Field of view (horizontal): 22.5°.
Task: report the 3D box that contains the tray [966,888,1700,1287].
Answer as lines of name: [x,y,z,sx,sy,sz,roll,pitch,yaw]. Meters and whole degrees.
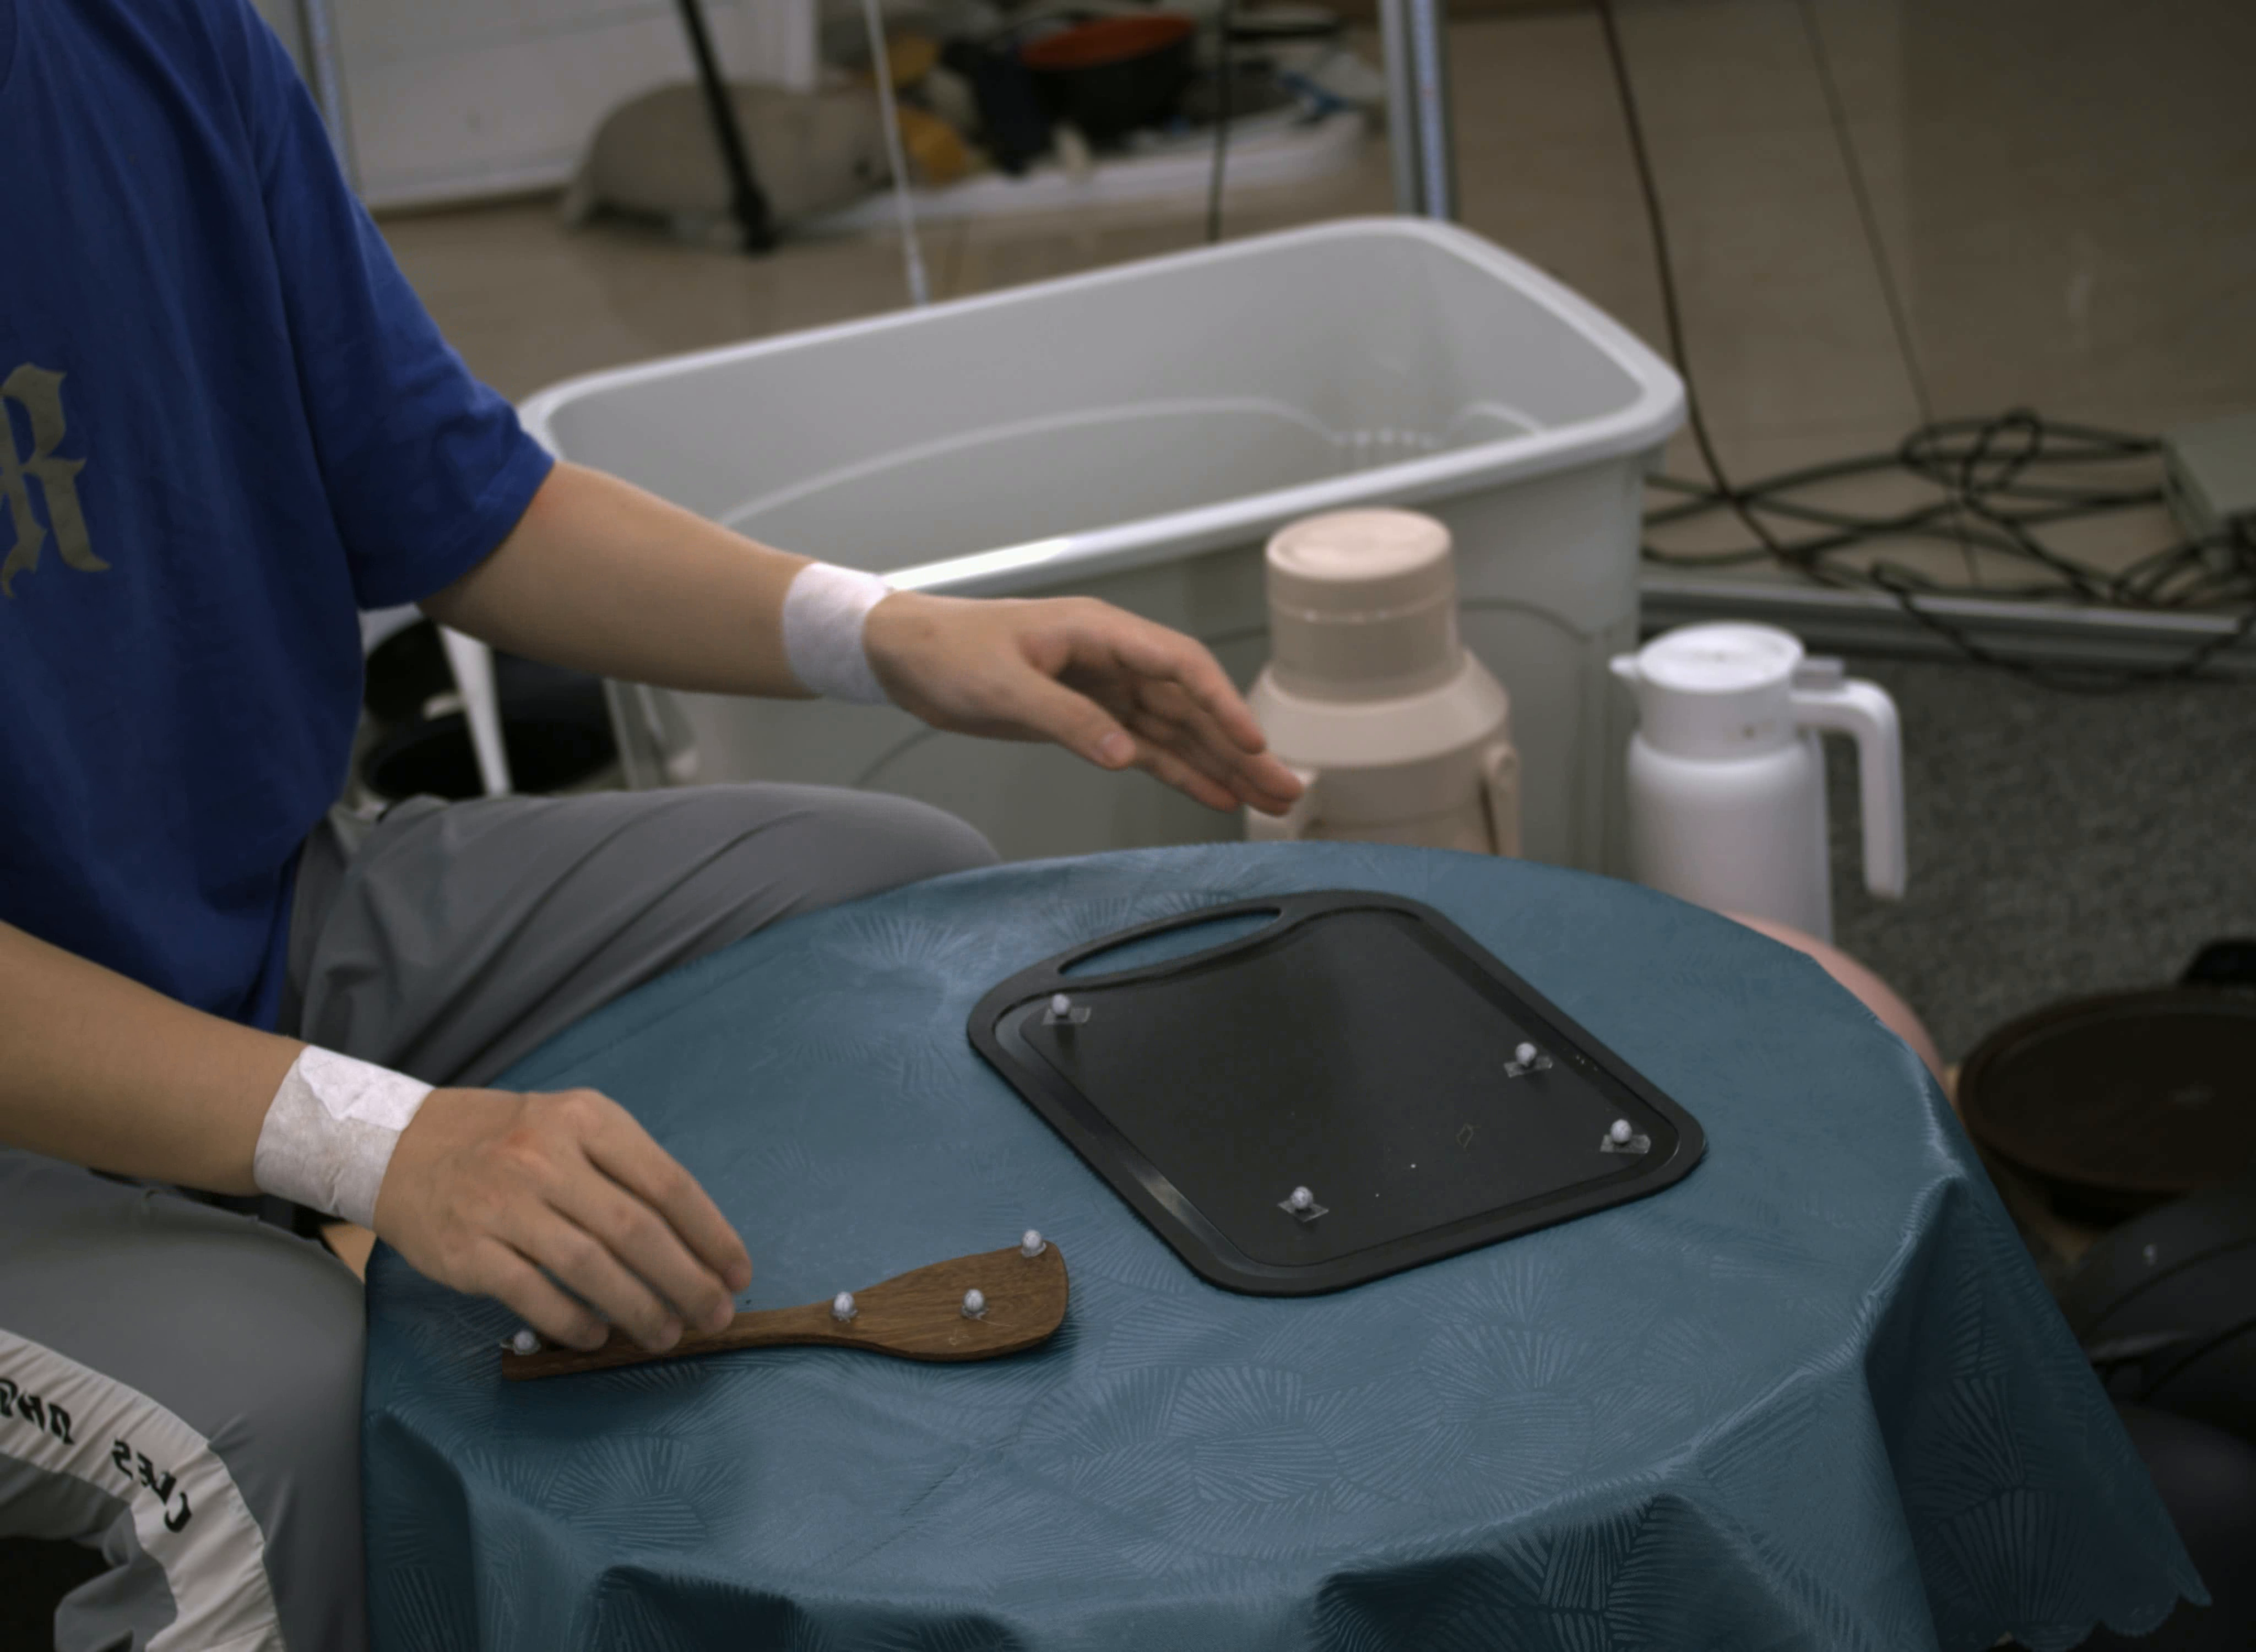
tray: [0.070,0.094,2.218,0.210,0.010,0.321,-15,26,-18]

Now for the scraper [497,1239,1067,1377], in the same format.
scraper: [-0.126,0.182,2.074,0.211,0.011,0.075,-7,24,2]
